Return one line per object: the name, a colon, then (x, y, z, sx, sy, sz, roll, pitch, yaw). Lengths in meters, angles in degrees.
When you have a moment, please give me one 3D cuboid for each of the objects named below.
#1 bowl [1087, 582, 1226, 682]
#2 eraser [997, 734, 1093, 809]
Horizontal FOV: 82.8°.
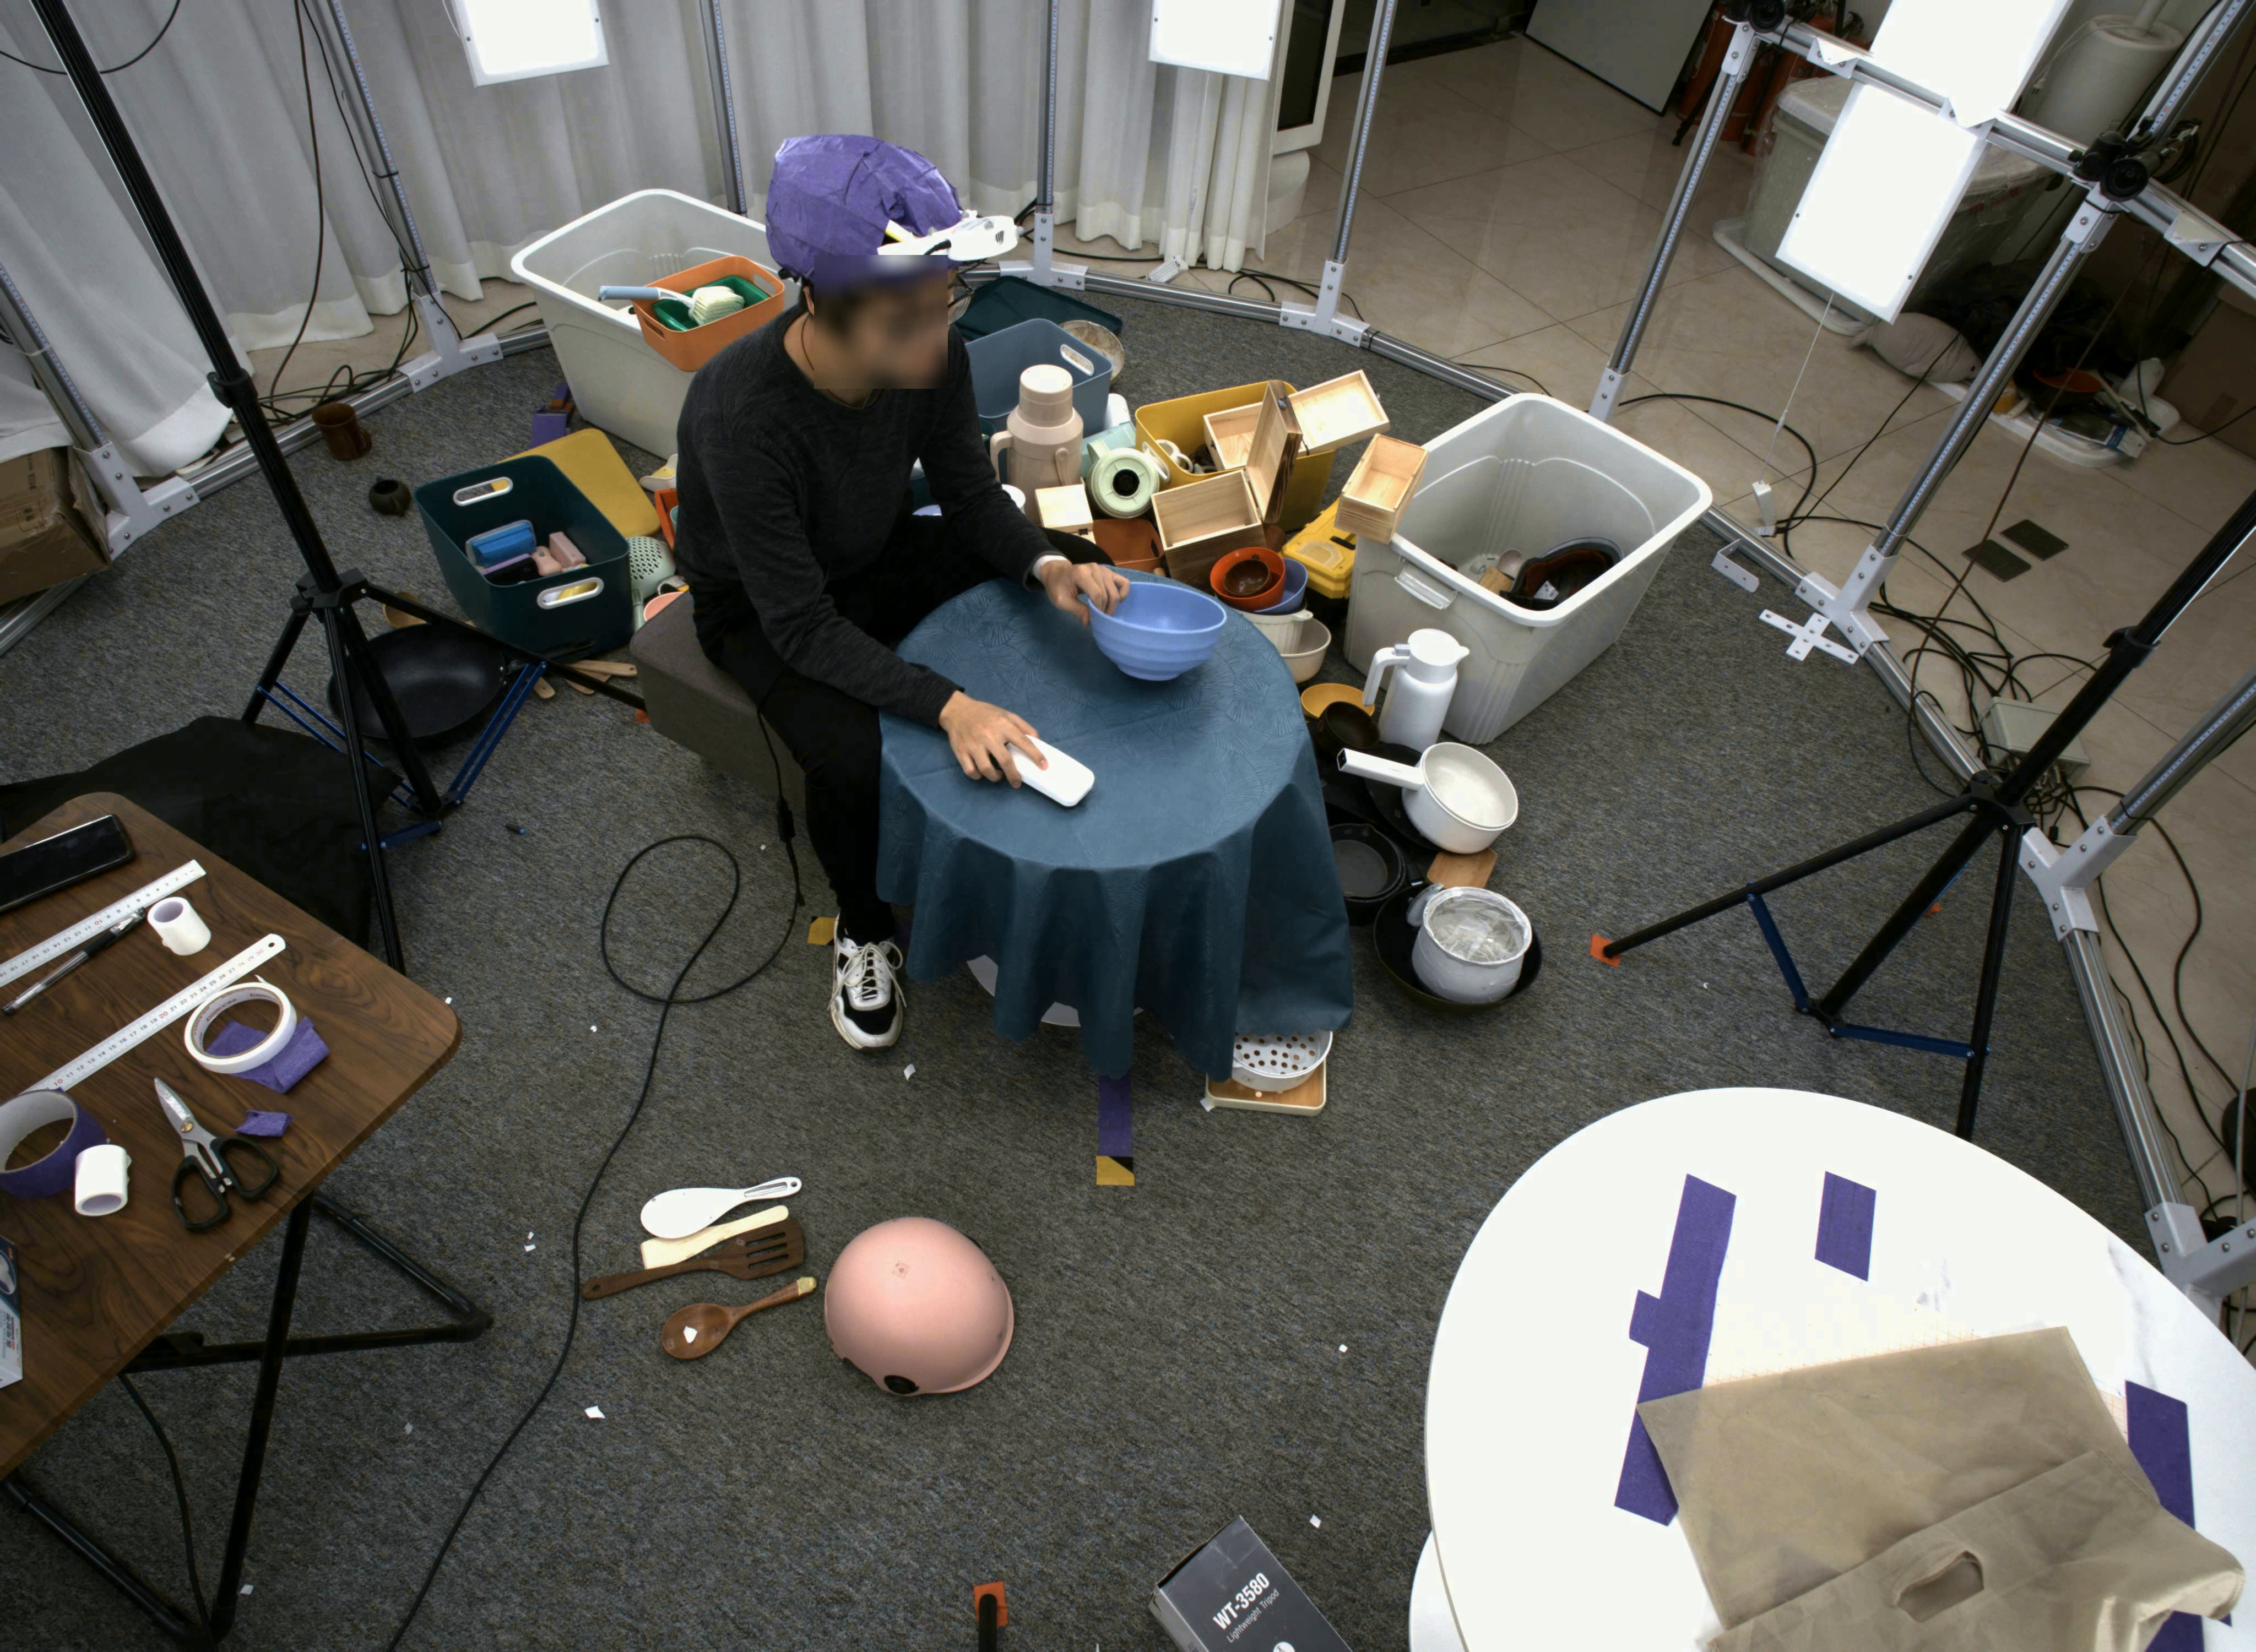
bowl: (0.036, -0.268, 1.828, 0.196, 0.093, 0.201, 5, 31, -3)
eraser: (-0.110, -0.075, 1.707, 0.133, 0.034, 0.064, 32, 55, 20)
